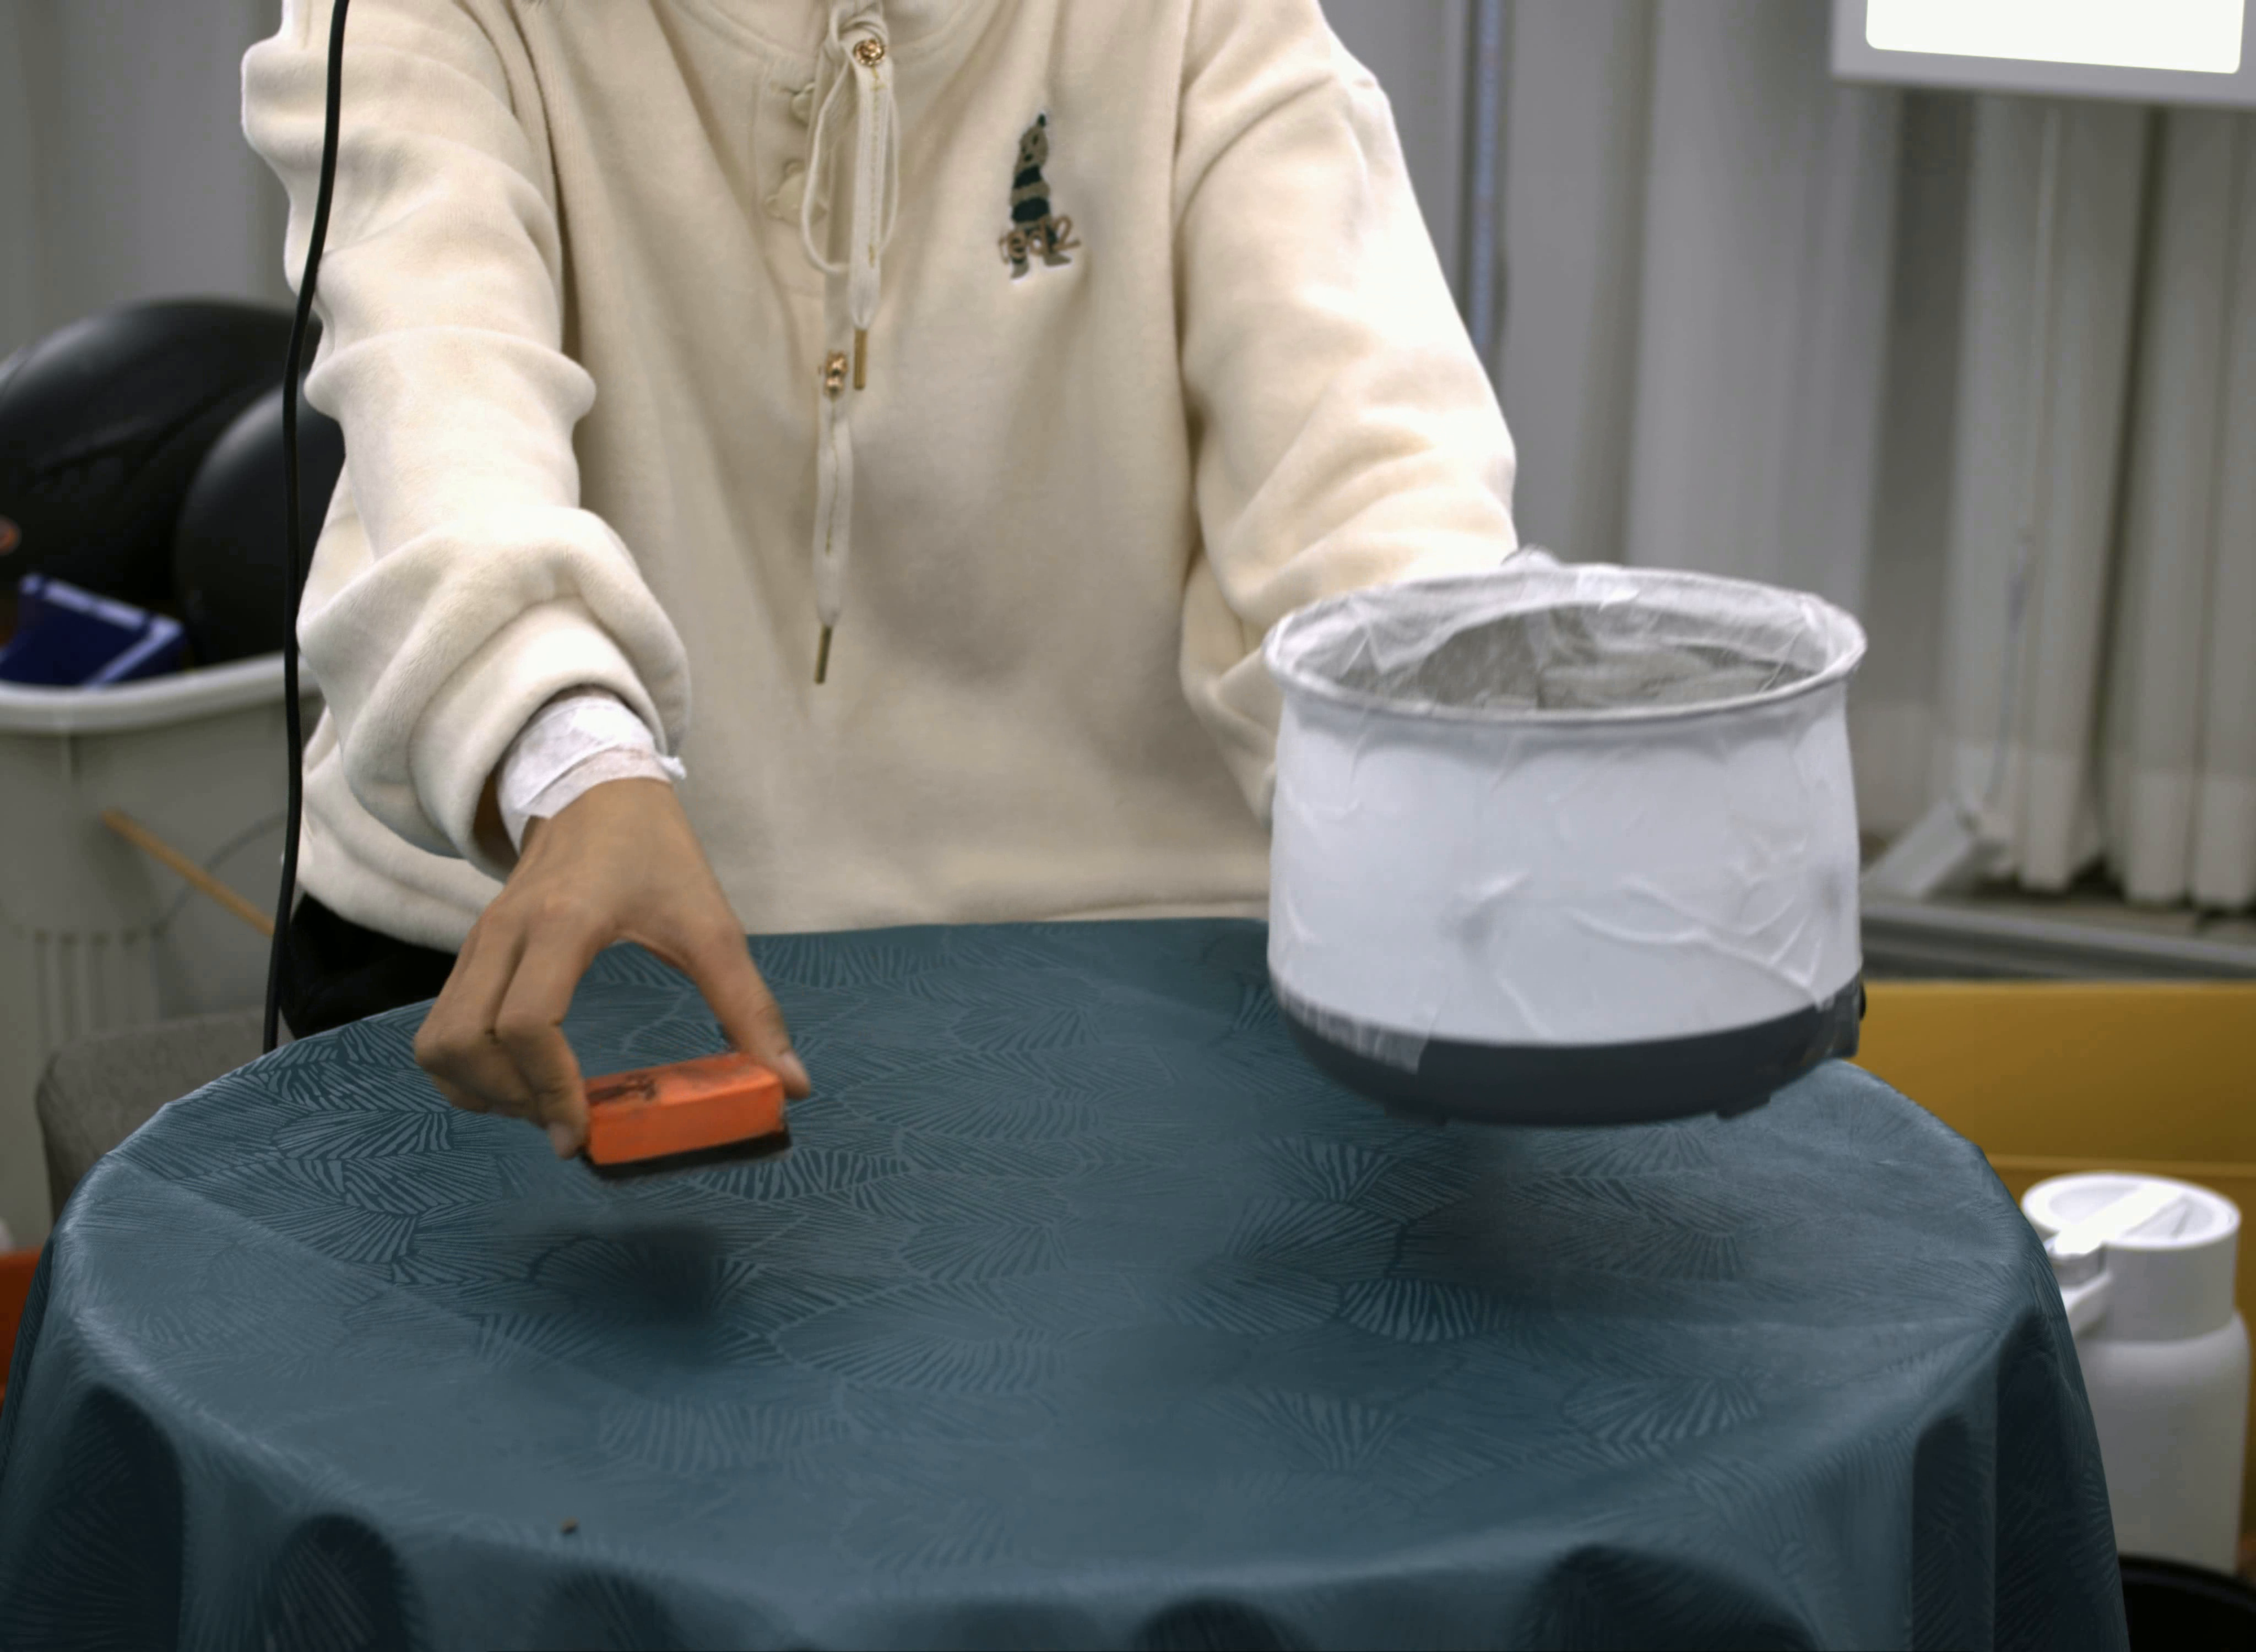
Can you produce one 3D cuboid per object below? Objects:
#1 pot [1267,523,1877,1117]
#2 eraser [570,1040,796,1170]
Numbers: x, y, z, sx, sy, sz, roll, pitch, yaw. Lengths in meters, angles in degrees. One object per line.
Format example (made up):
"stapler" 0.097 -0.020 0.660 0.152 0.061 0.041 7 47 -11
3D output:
"pot" 0.128 -0.007 1.577 0.178 0.138 0.232 -1 17 -3
"eraser" -0.131 0.081 1.540 0.059 0.023 0.107 -12 2 -9
